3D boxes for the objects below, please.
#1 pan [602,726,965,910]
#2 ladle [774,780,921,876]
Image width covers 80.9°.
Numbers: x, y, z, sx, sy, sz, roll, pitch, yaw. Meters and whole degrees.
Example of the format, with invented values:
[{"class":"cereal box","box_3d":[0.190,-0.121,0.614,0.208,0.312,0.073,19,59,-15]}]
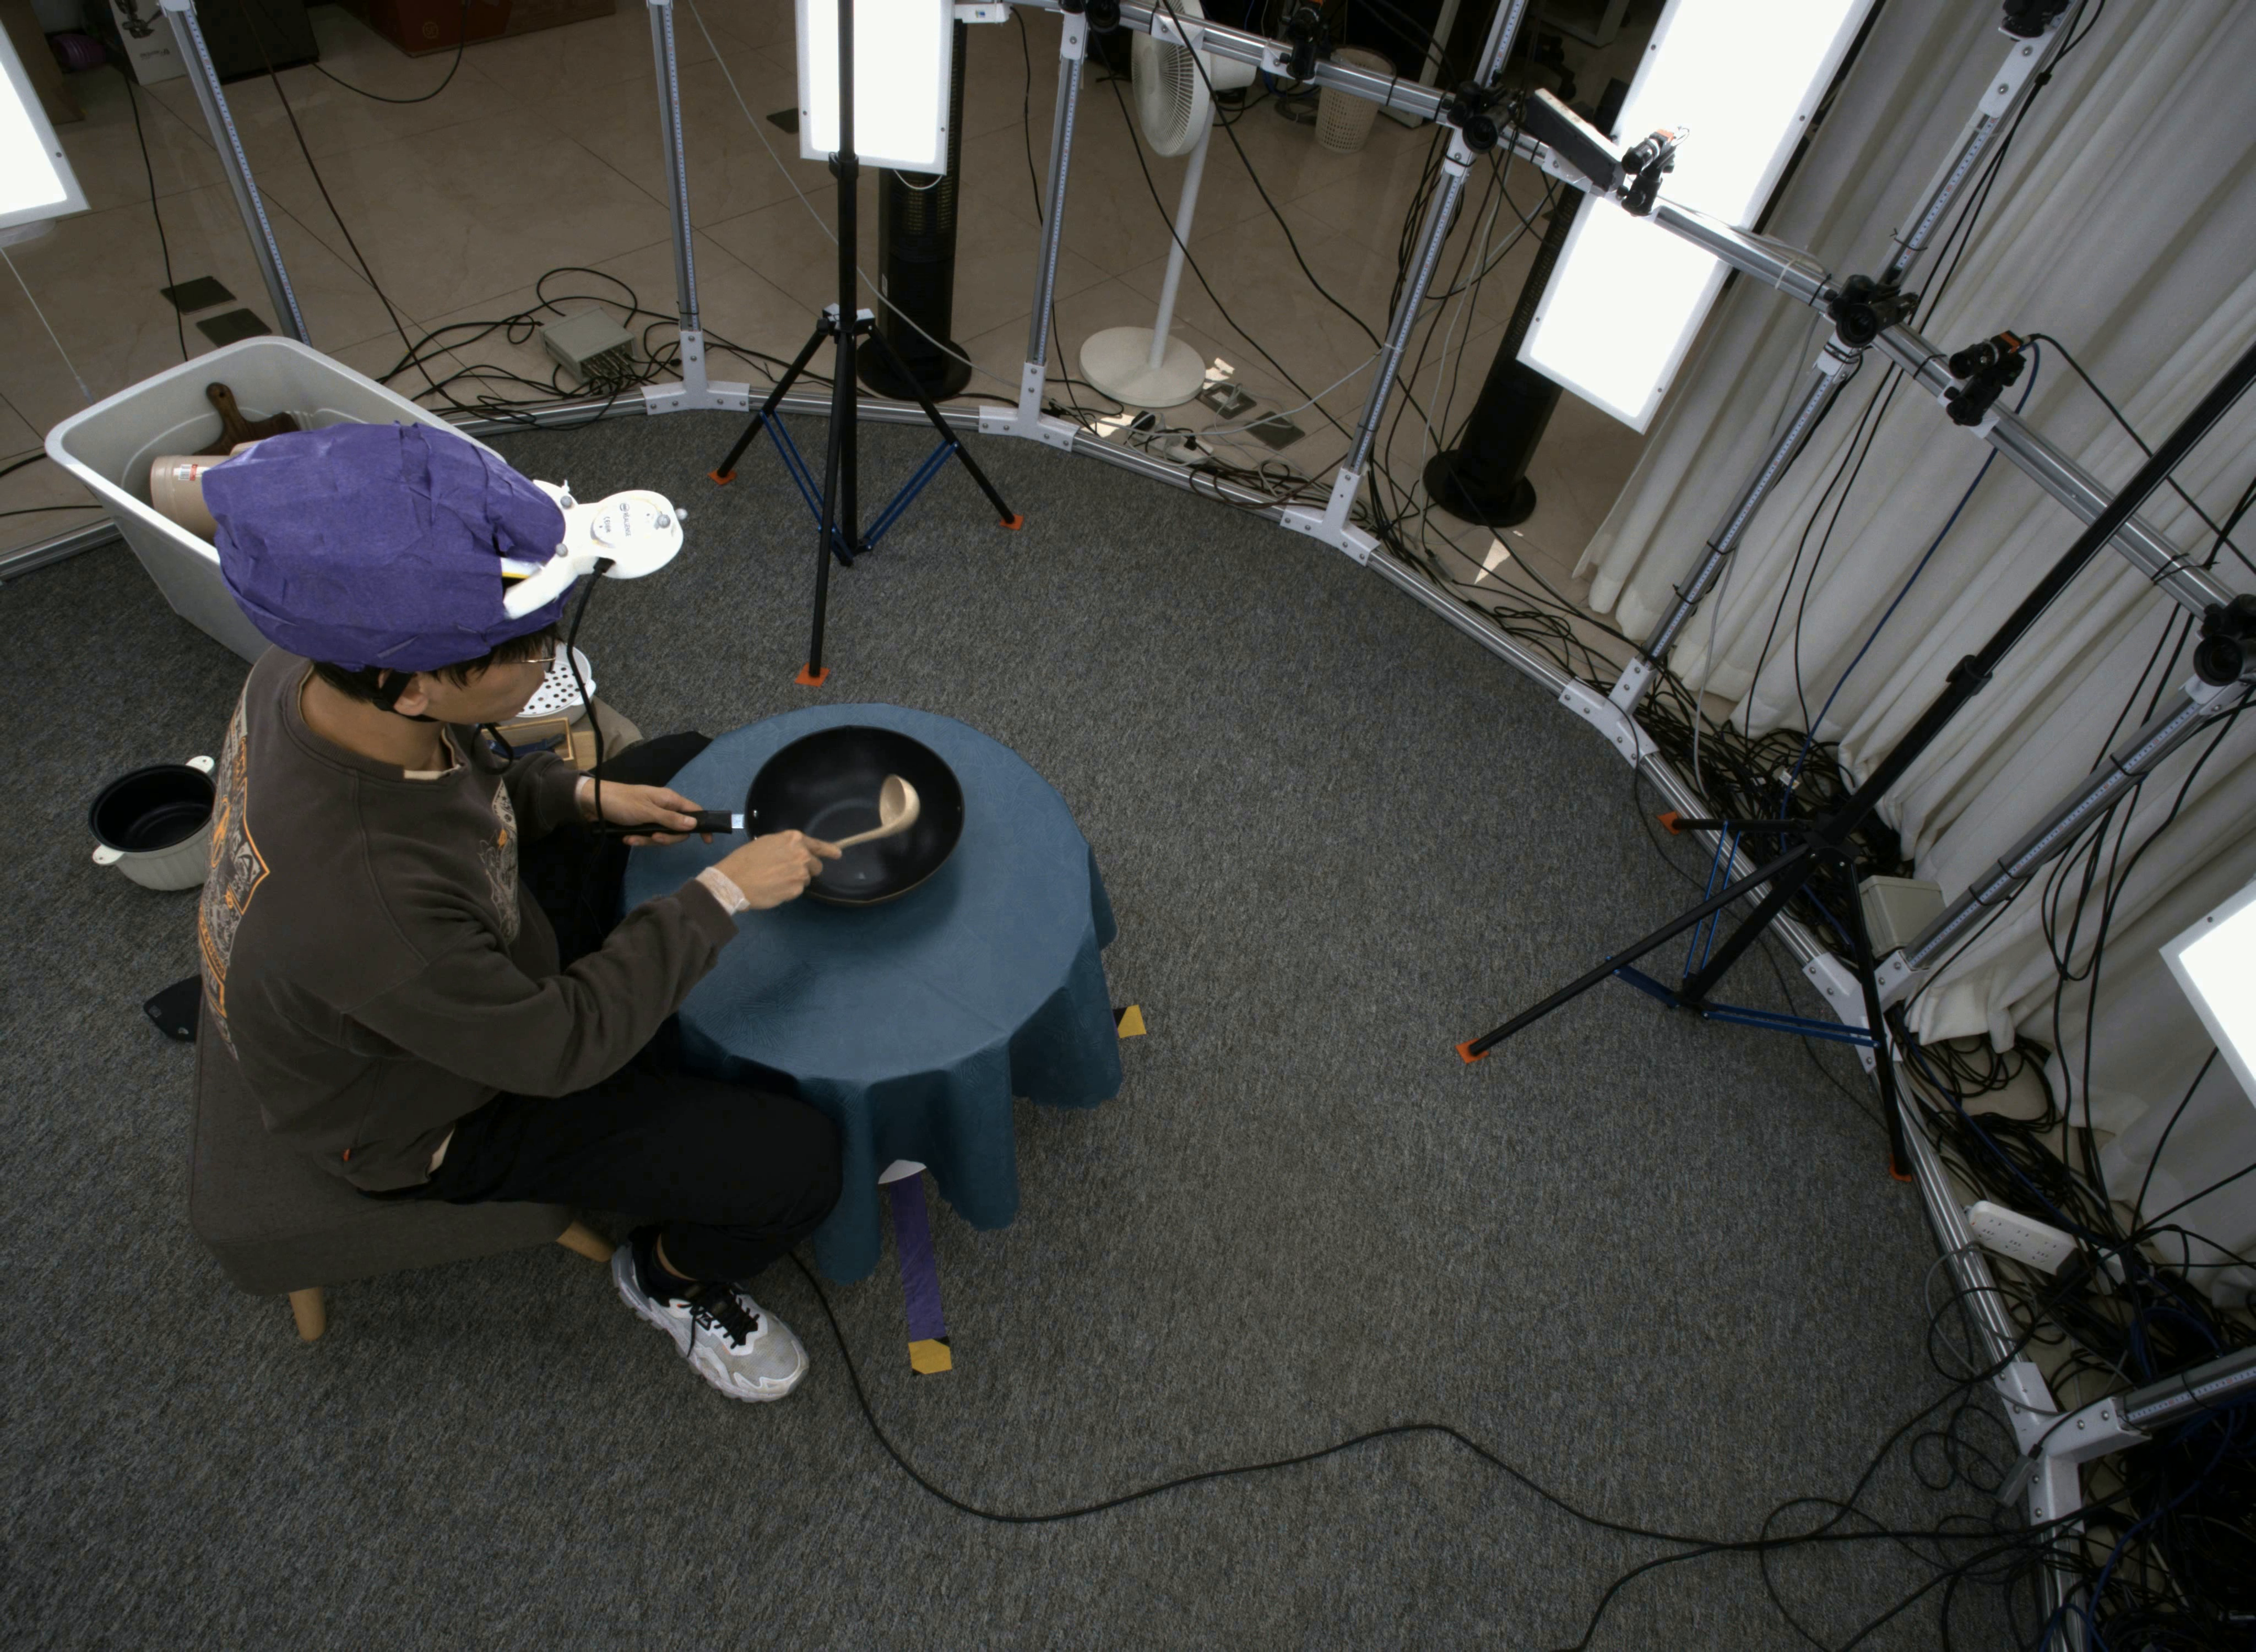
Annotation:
[{"class":"pan","box_3d":[-0.440,0.009,1.676,0.463,0.089,0.282,-5,56,-14]},{"class":"ladle","box_3d":[-0.356,-0.001,1.599,0.072,0.072,0.257,55,35,10]}]
